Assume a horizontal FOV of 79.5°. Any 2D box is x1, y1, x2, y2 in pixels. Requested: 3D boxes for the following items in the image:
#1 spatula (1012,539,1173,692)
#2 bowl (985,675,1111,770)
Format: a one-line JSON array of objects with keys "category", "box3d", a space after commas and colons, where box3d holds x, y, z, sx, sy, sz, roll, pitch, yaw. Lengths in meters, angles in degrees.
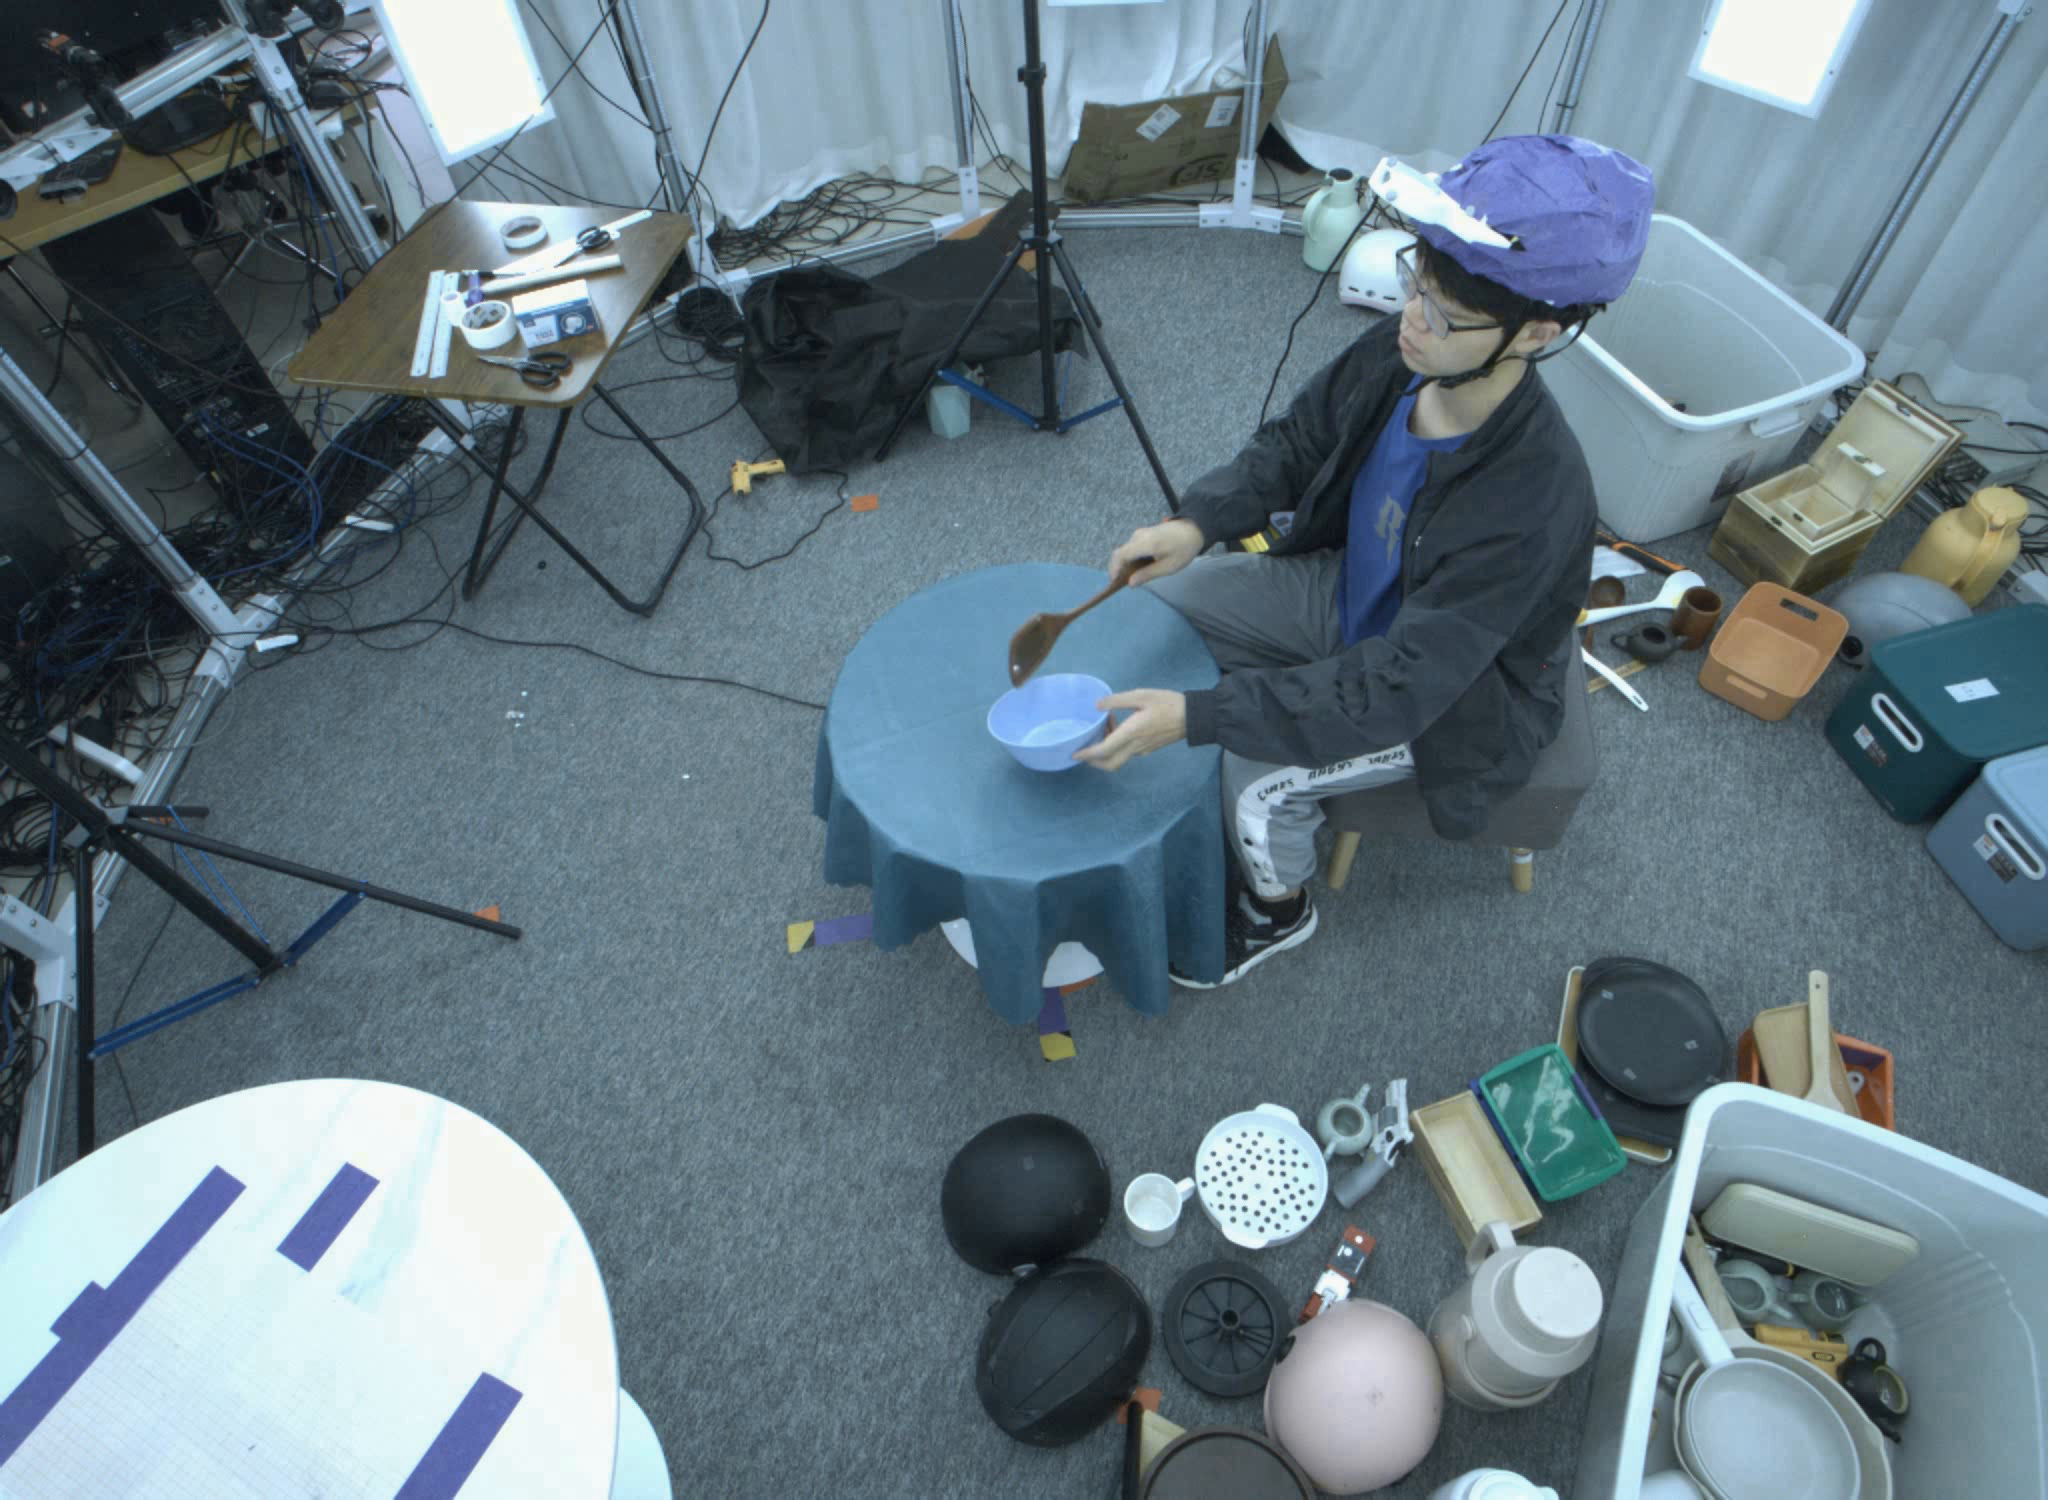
[{"category": "spatula", "box3d": [0.098, -0.208, 1.729, 0.023, 0.086, 0.390, 27, 49, 29]}, {"category": "bowl", "box3d": [0.039, -0.031, 1.693, 0.175, 0.071, 0.174, -9, 33, 7]}]
